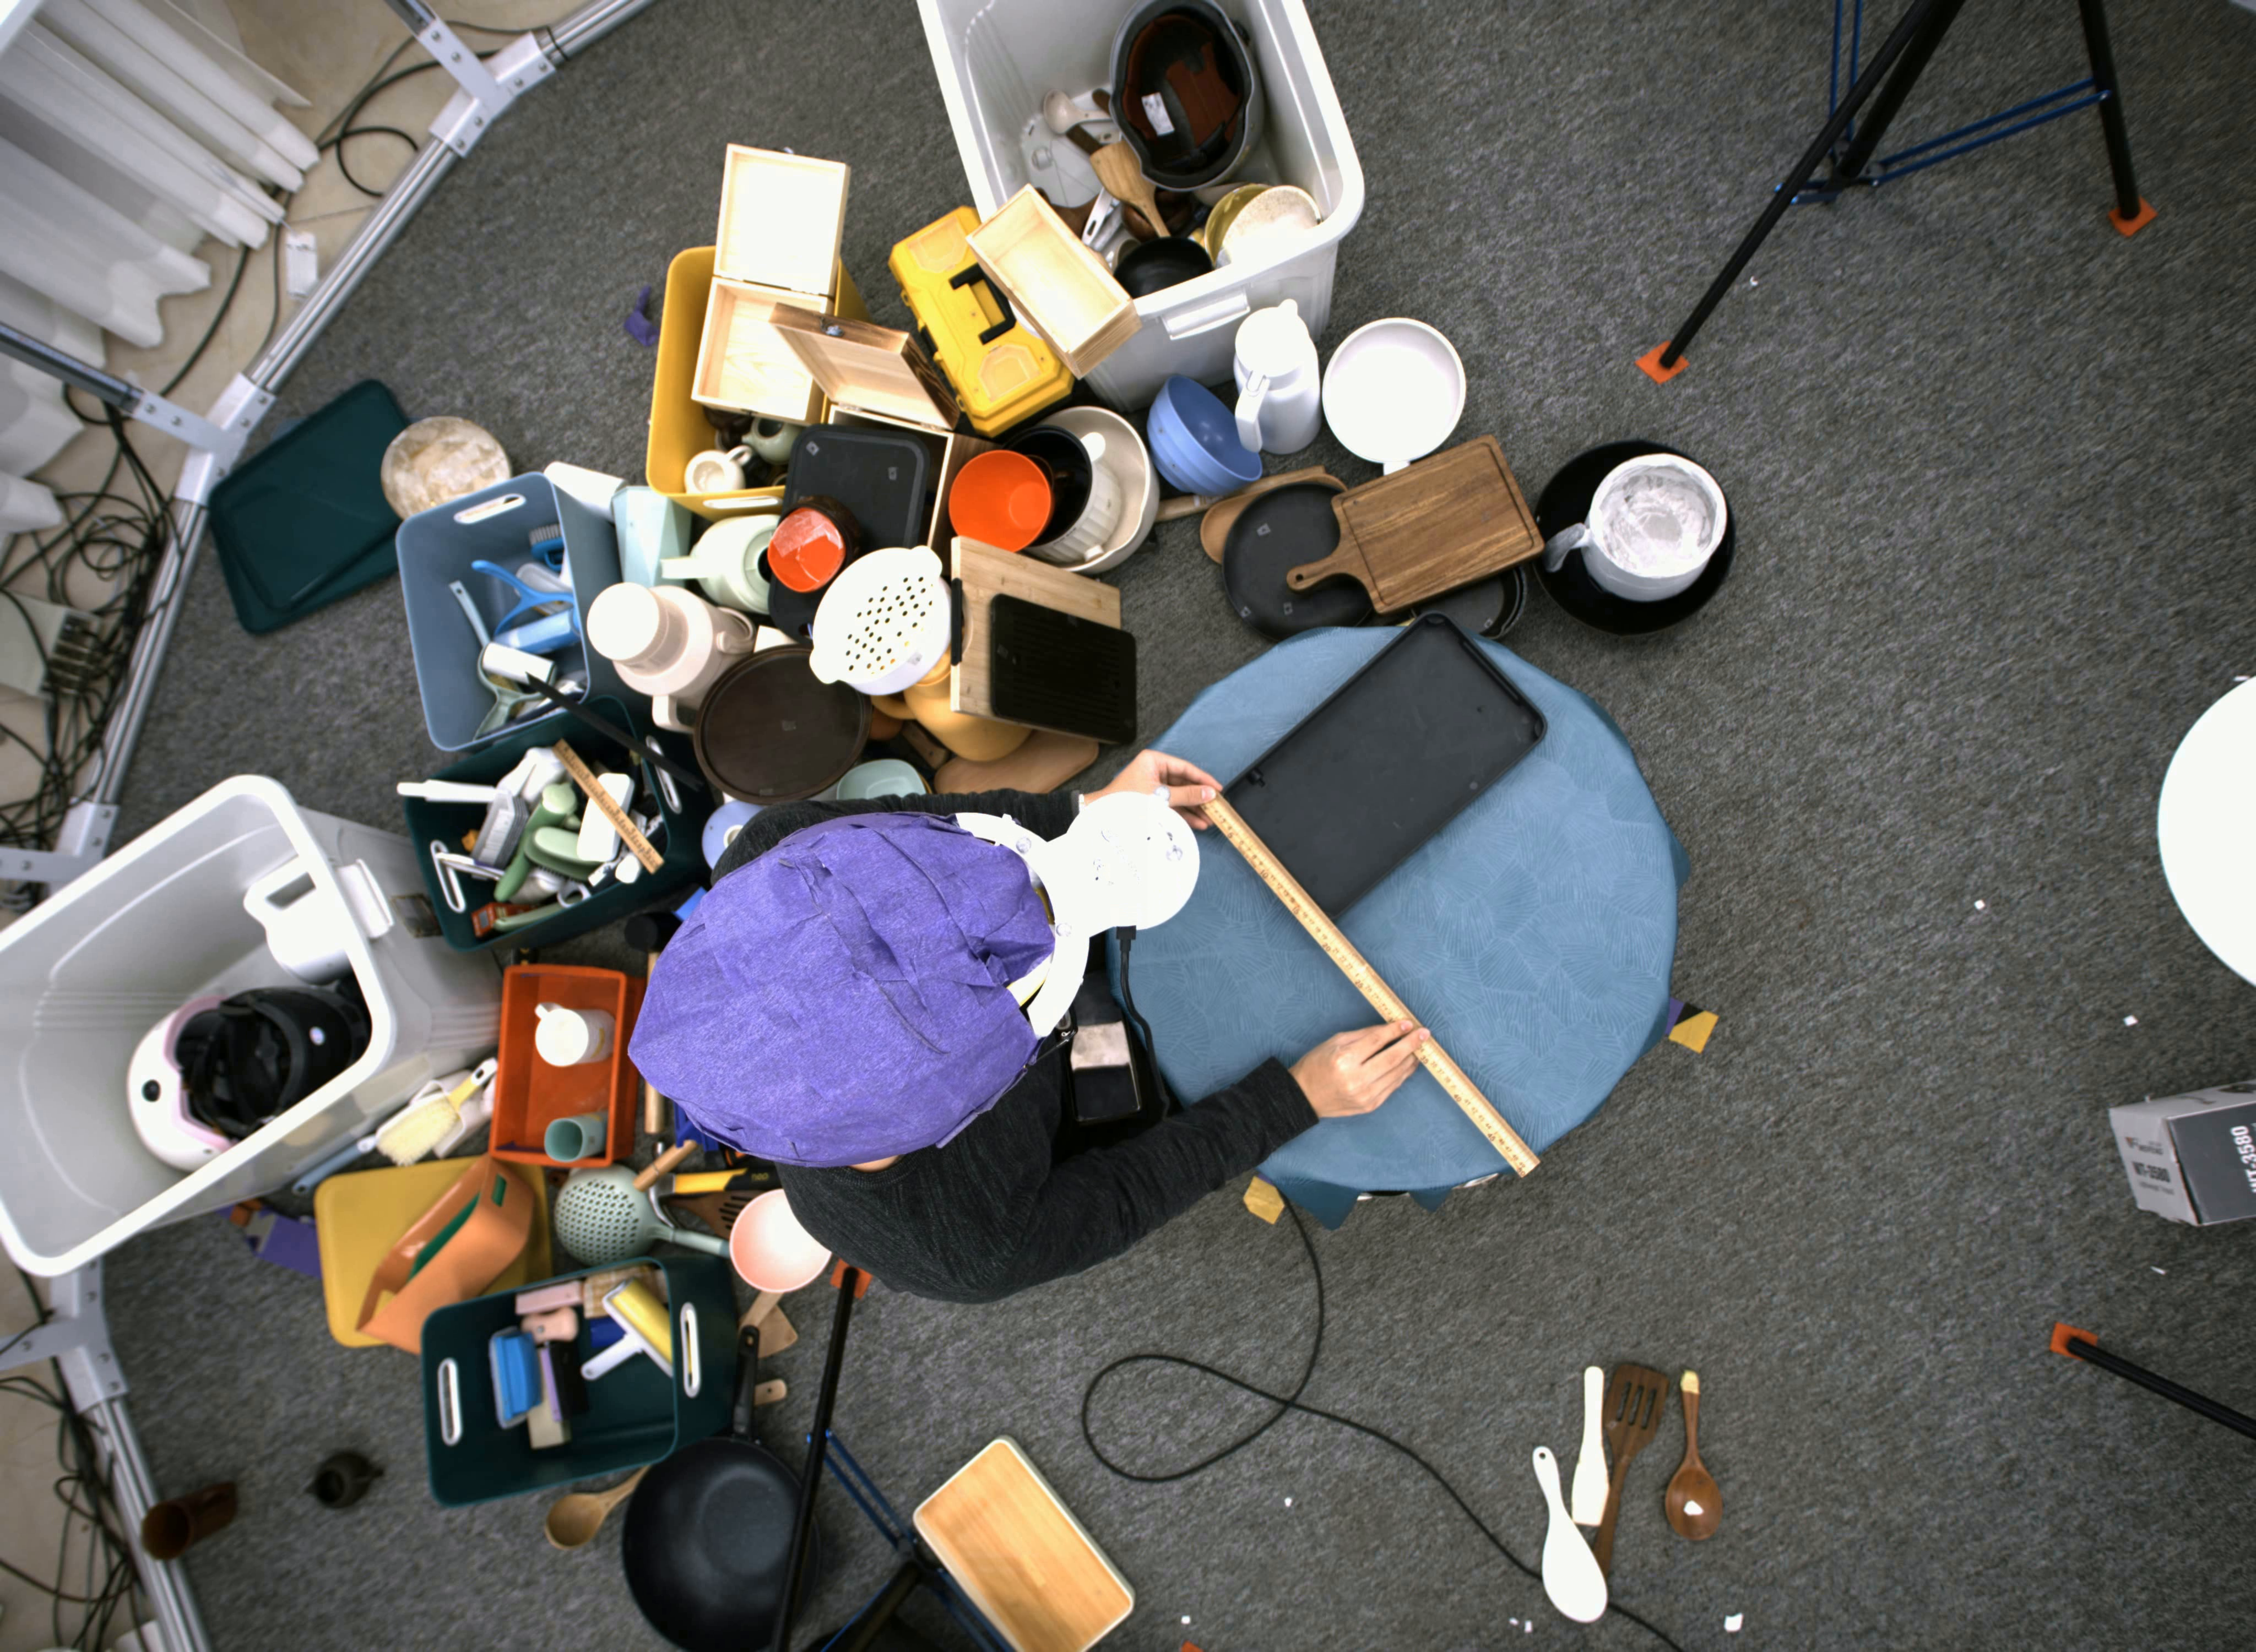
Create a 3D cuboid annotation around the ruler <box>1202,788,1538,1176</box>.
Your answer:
[{"bbox_3d":[0.244,0.155,1.424,0.027,0.006,0.498,-42,81,8],"label":"ruler"}]

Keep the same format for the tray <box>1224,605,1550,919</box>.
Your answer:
[{"bbox_3d":[0.270,-0.067,1.450,0.319,0.037,0.183,-43,80,6],"label":"tray"}]
